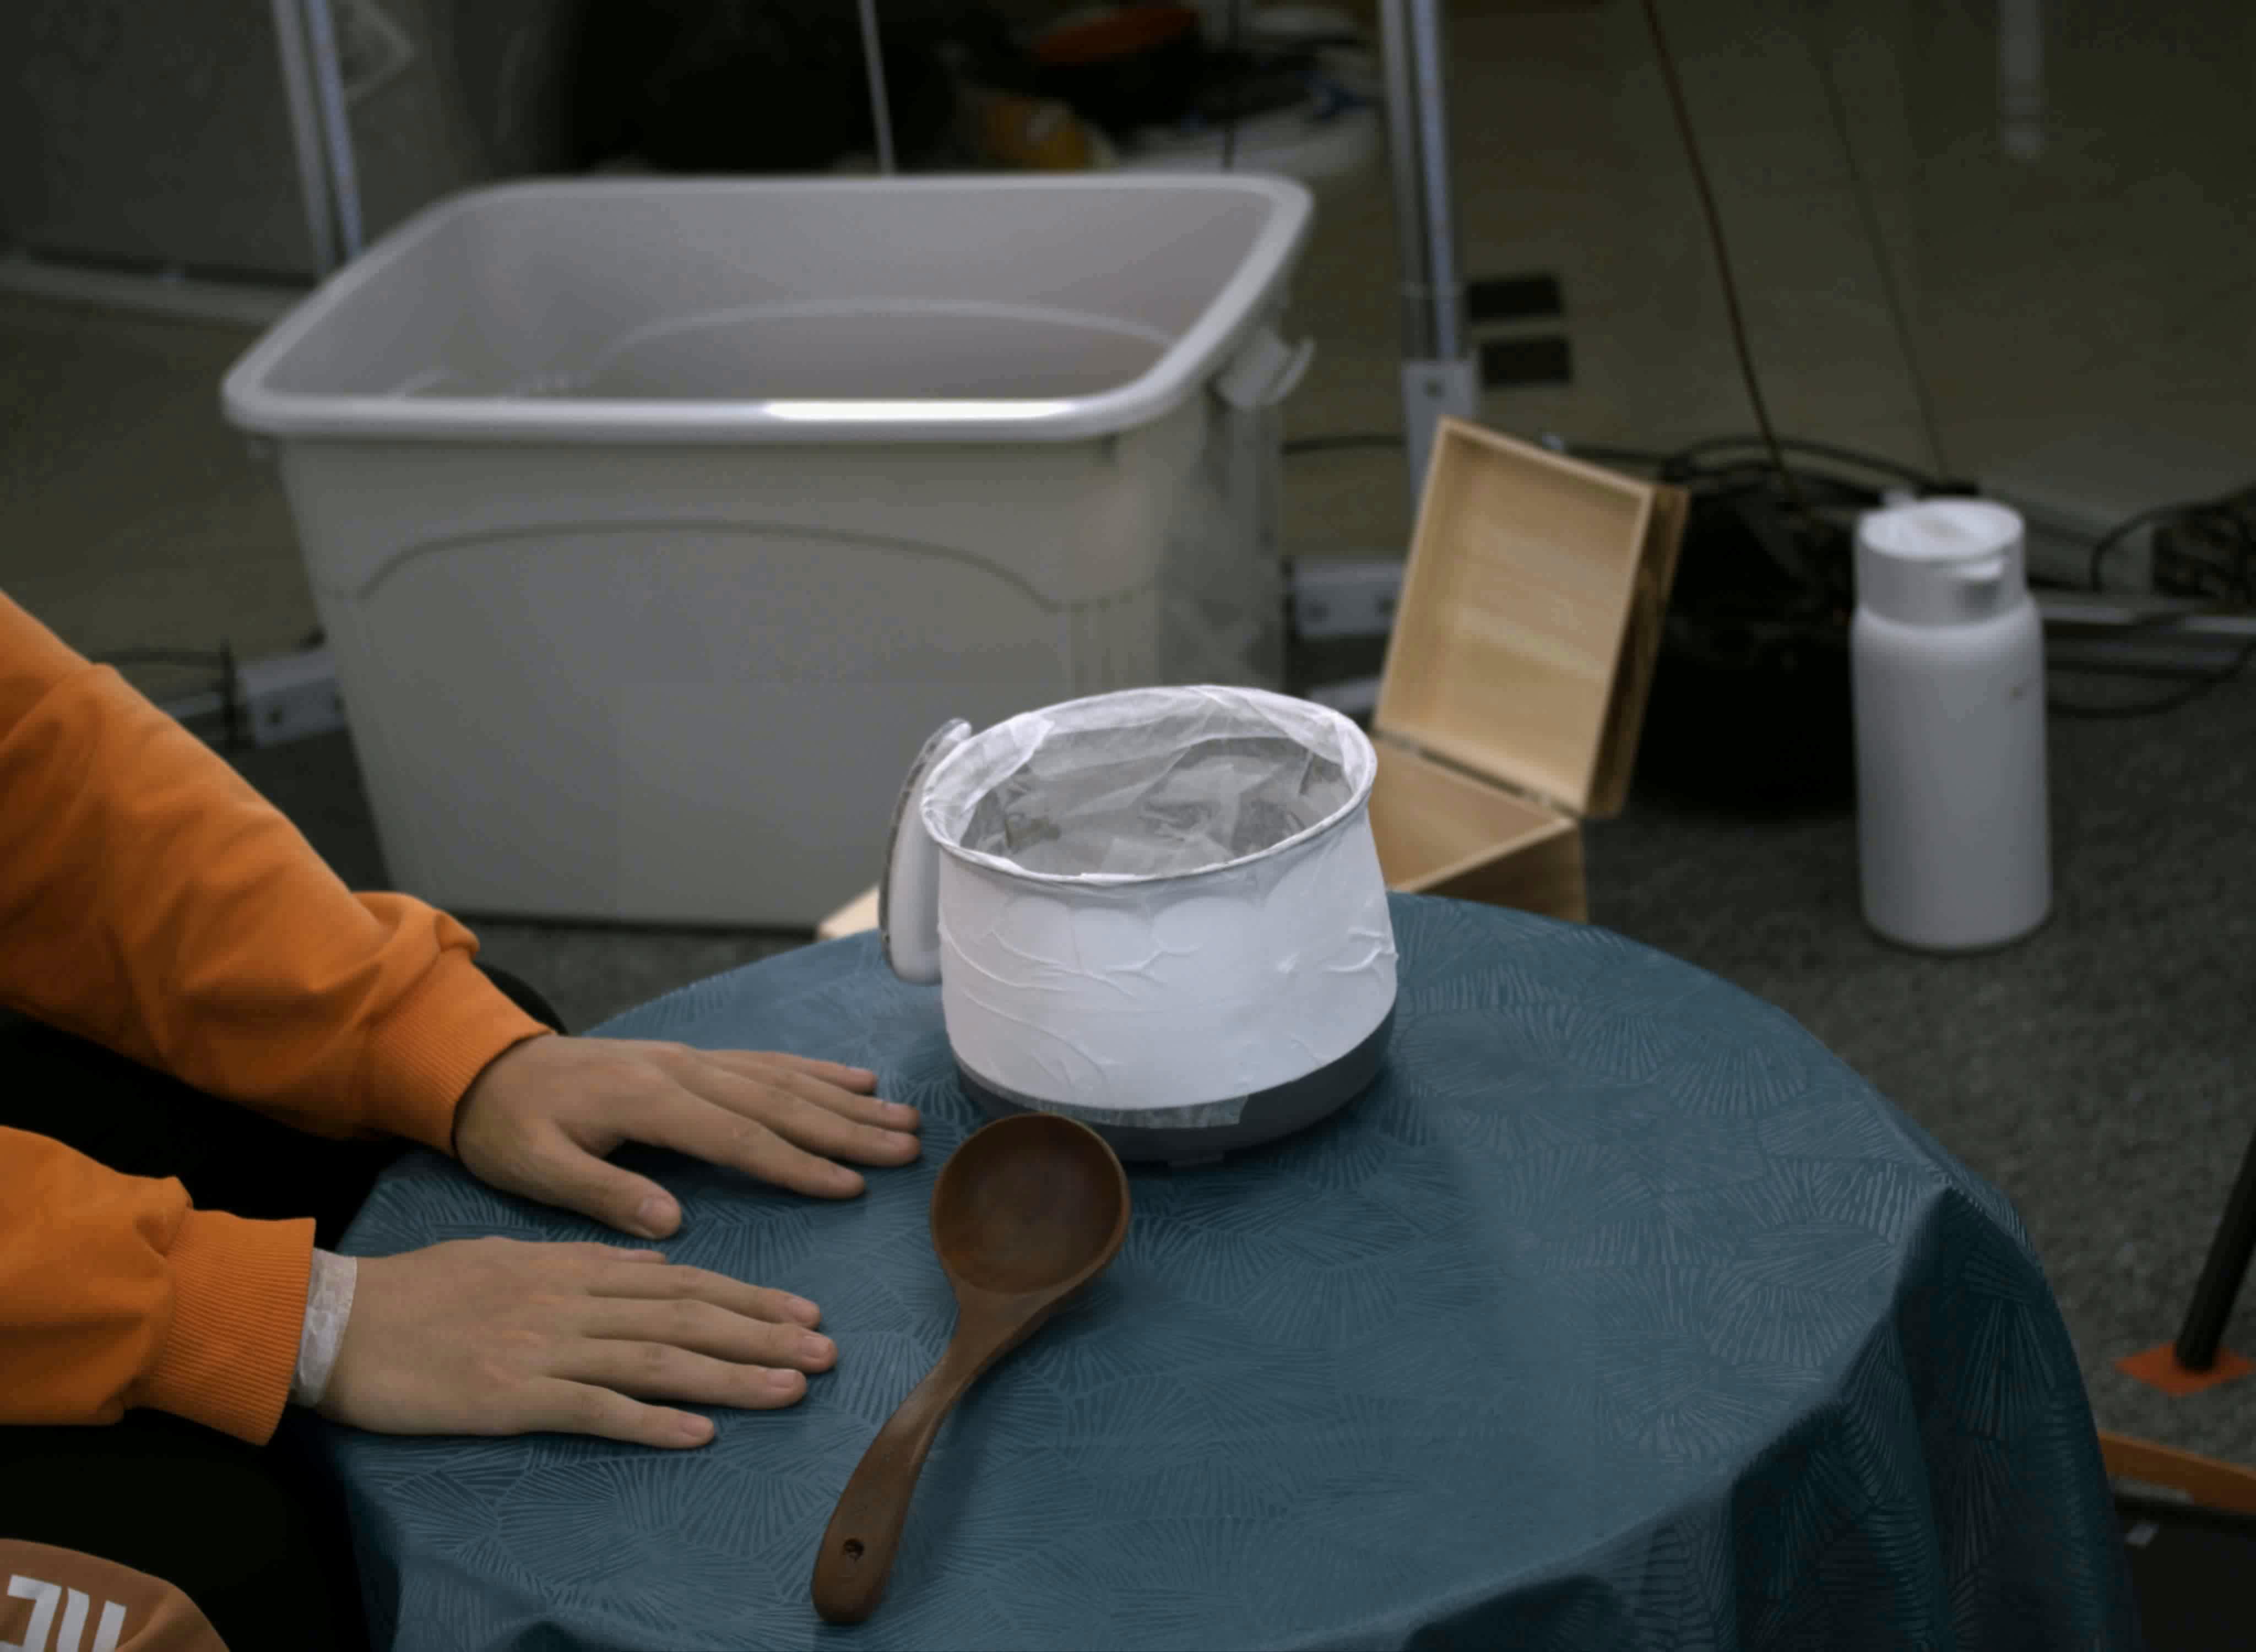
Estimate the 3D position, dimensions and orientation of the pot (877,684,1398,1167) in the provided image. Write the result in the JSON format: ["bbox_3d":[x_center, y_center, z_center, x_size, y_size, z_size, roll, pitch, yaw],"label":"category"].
[{"bbox_3d":[-0.008,0.034,2.208,0.232,0.139,0.177,14,32,36],"label":"pot"}]

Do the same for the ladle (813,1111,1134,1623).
[{"bbox_3d":[-0.063,0.184,1.989,0.076,0.066,0.256,0,25,19],"label":"ladle"}]
